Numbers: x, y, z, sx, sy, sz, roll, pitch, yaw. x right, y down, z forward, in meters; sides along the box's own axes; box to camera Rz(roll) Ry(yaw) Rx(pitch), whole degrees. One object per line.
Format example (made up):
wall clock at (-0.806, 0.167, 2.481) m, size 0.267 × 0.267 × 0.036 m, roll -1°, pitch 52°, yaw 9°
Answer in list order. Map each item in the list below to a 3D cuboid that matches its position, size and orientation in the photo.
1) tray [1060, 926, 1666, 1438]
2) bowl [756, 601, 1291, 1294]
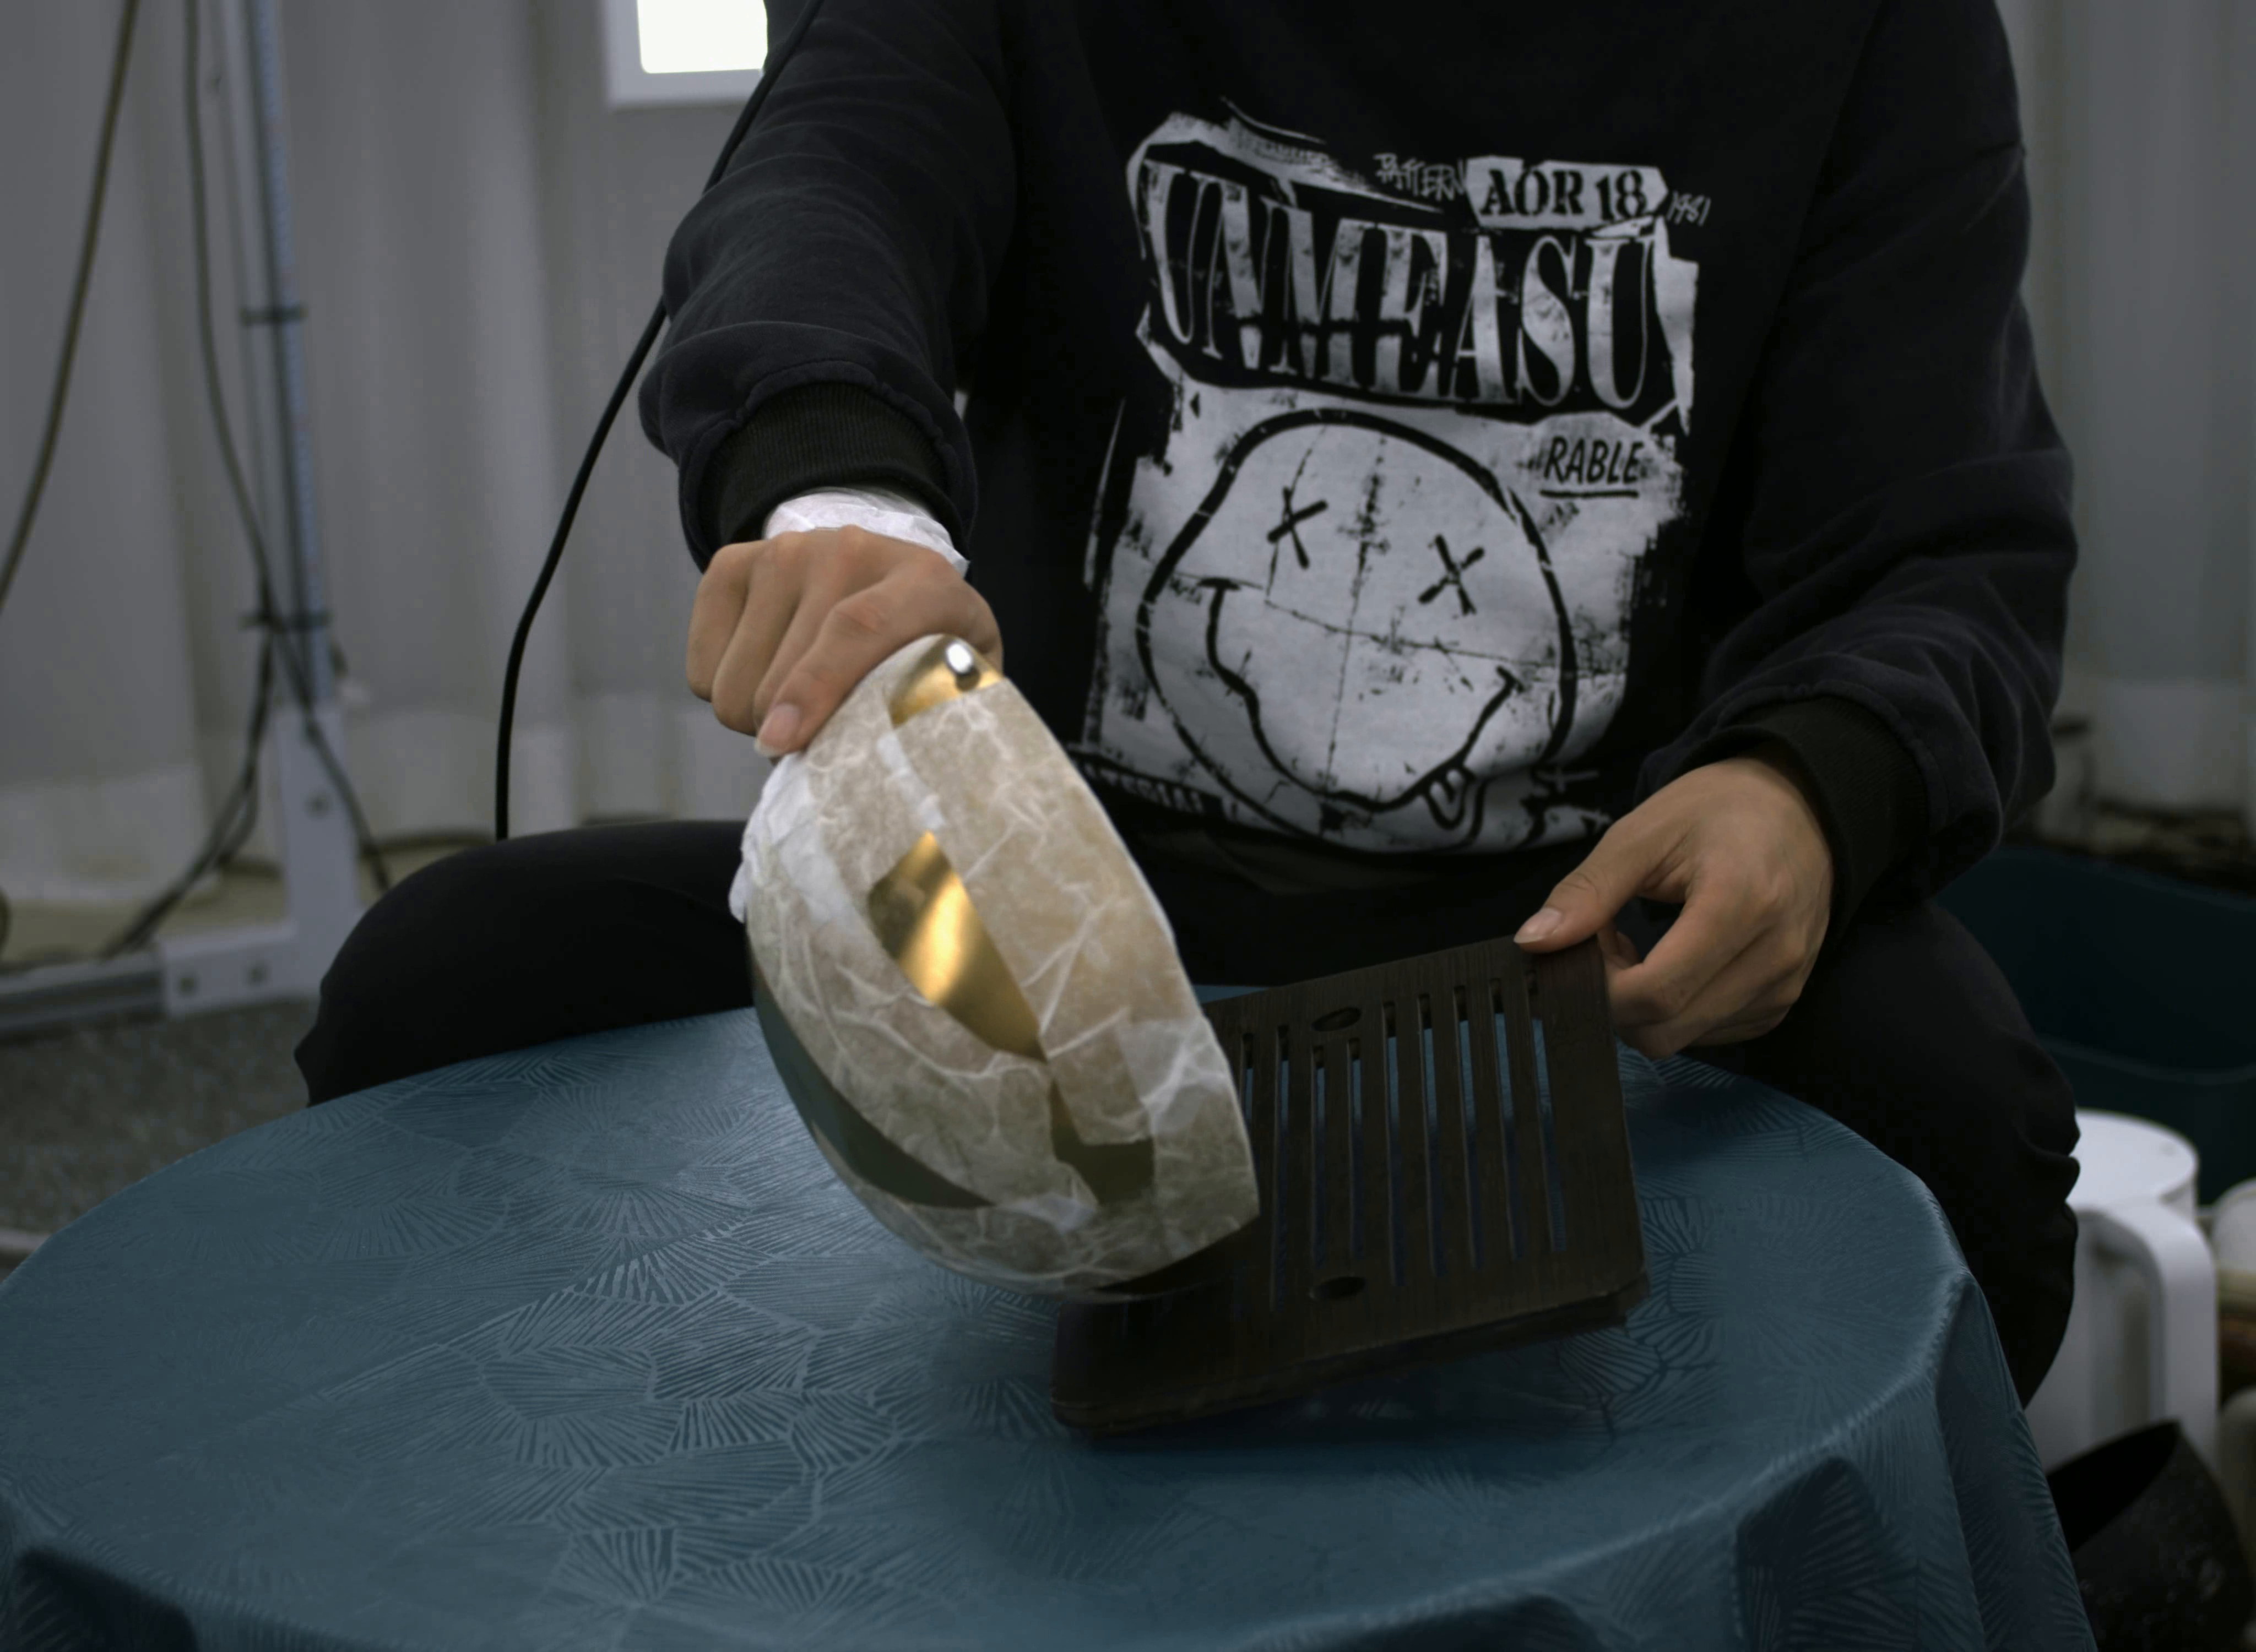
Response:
tray at (0.069, 0.103, 1.630) m, size 0.169 × 0.018 × 0.308 m, roll -13°, pitch 17°, yaw 6°
bowl at (-0.045, 0.052, 1.537) m, size 0.094 × 0.213 × 0.216 m, roll -27°, pitch 21°, yaw -14°
